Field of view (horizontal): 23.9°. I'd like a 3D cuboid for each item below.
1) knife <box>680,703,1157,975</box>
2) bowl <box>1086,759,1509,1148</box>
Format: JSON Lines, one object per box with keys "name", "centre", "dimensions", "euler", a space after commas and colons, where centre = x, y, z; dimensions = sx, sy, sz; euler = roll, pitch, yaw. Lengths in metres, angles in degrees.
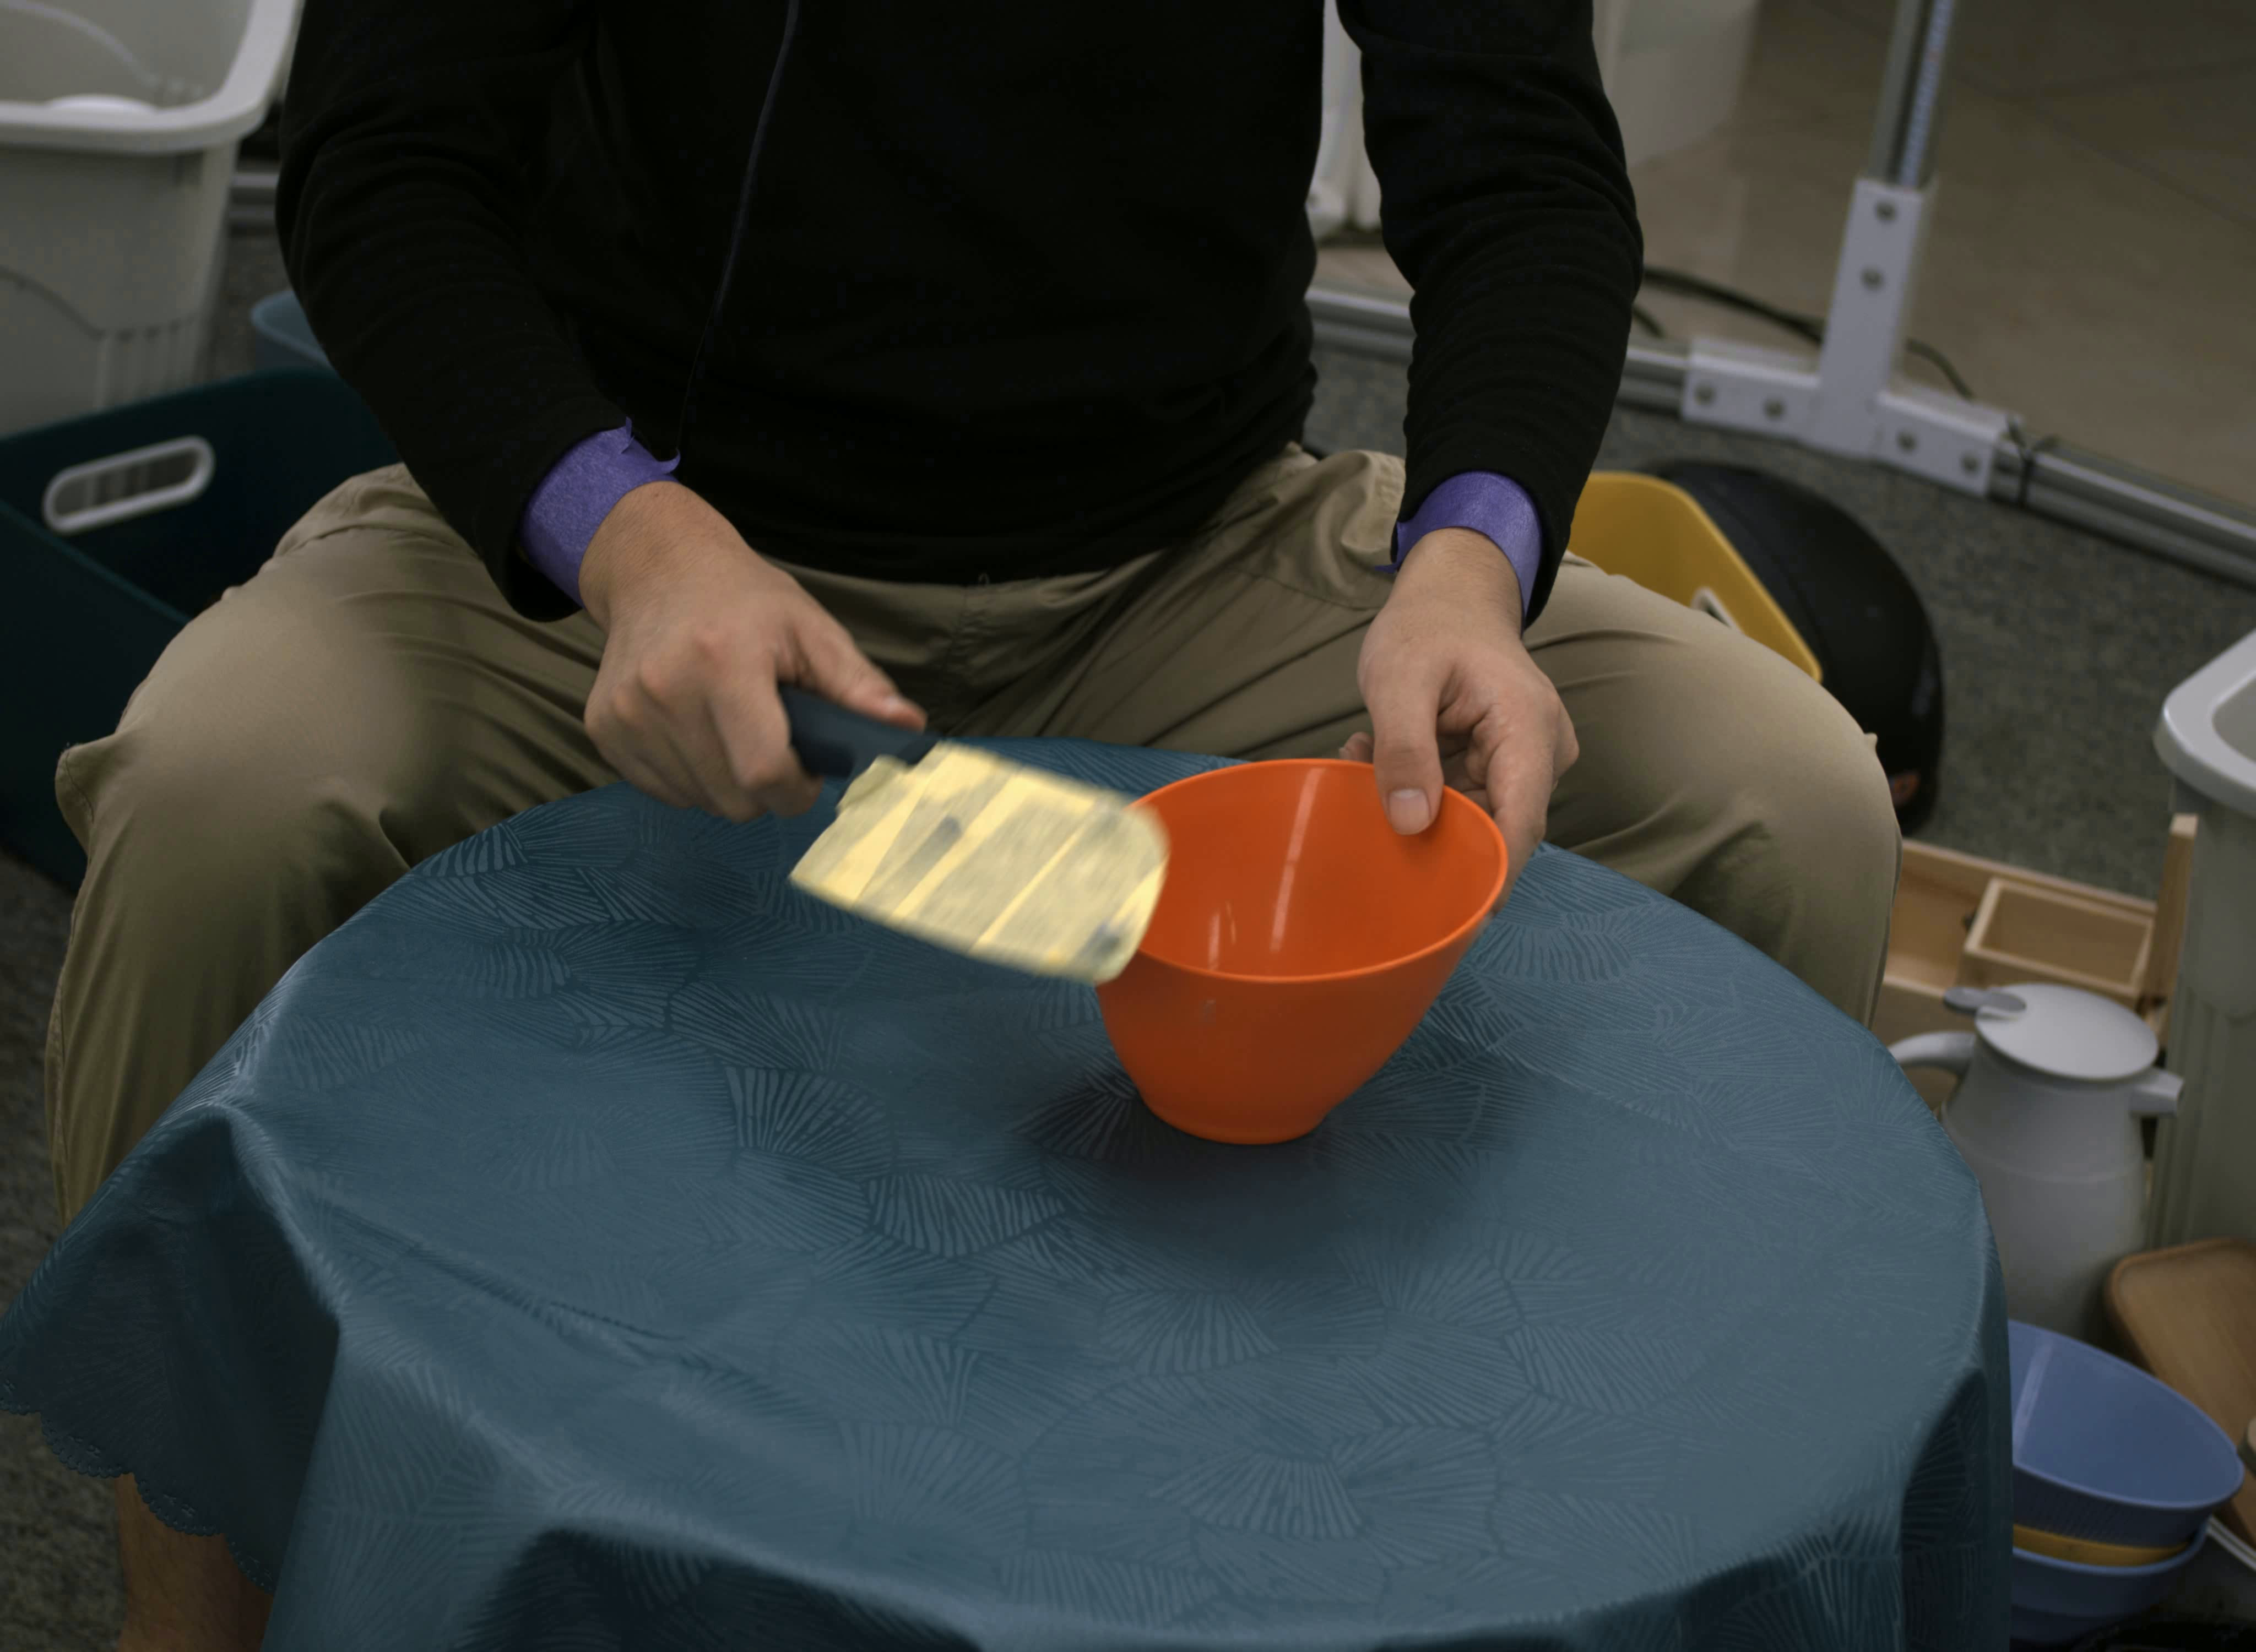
{"name": "knife", "centre": [-0.082, 0.003, 1.838], "dimensions": [0.081, 0.027, 0.291], "euler": [-42, 34, -18]}
{"name": "bowl", "centre": [0.053, 0.050, 1.849], "dimensions": [0.147, 0.104, 0.149], "euler": [5, 28, -3]}
